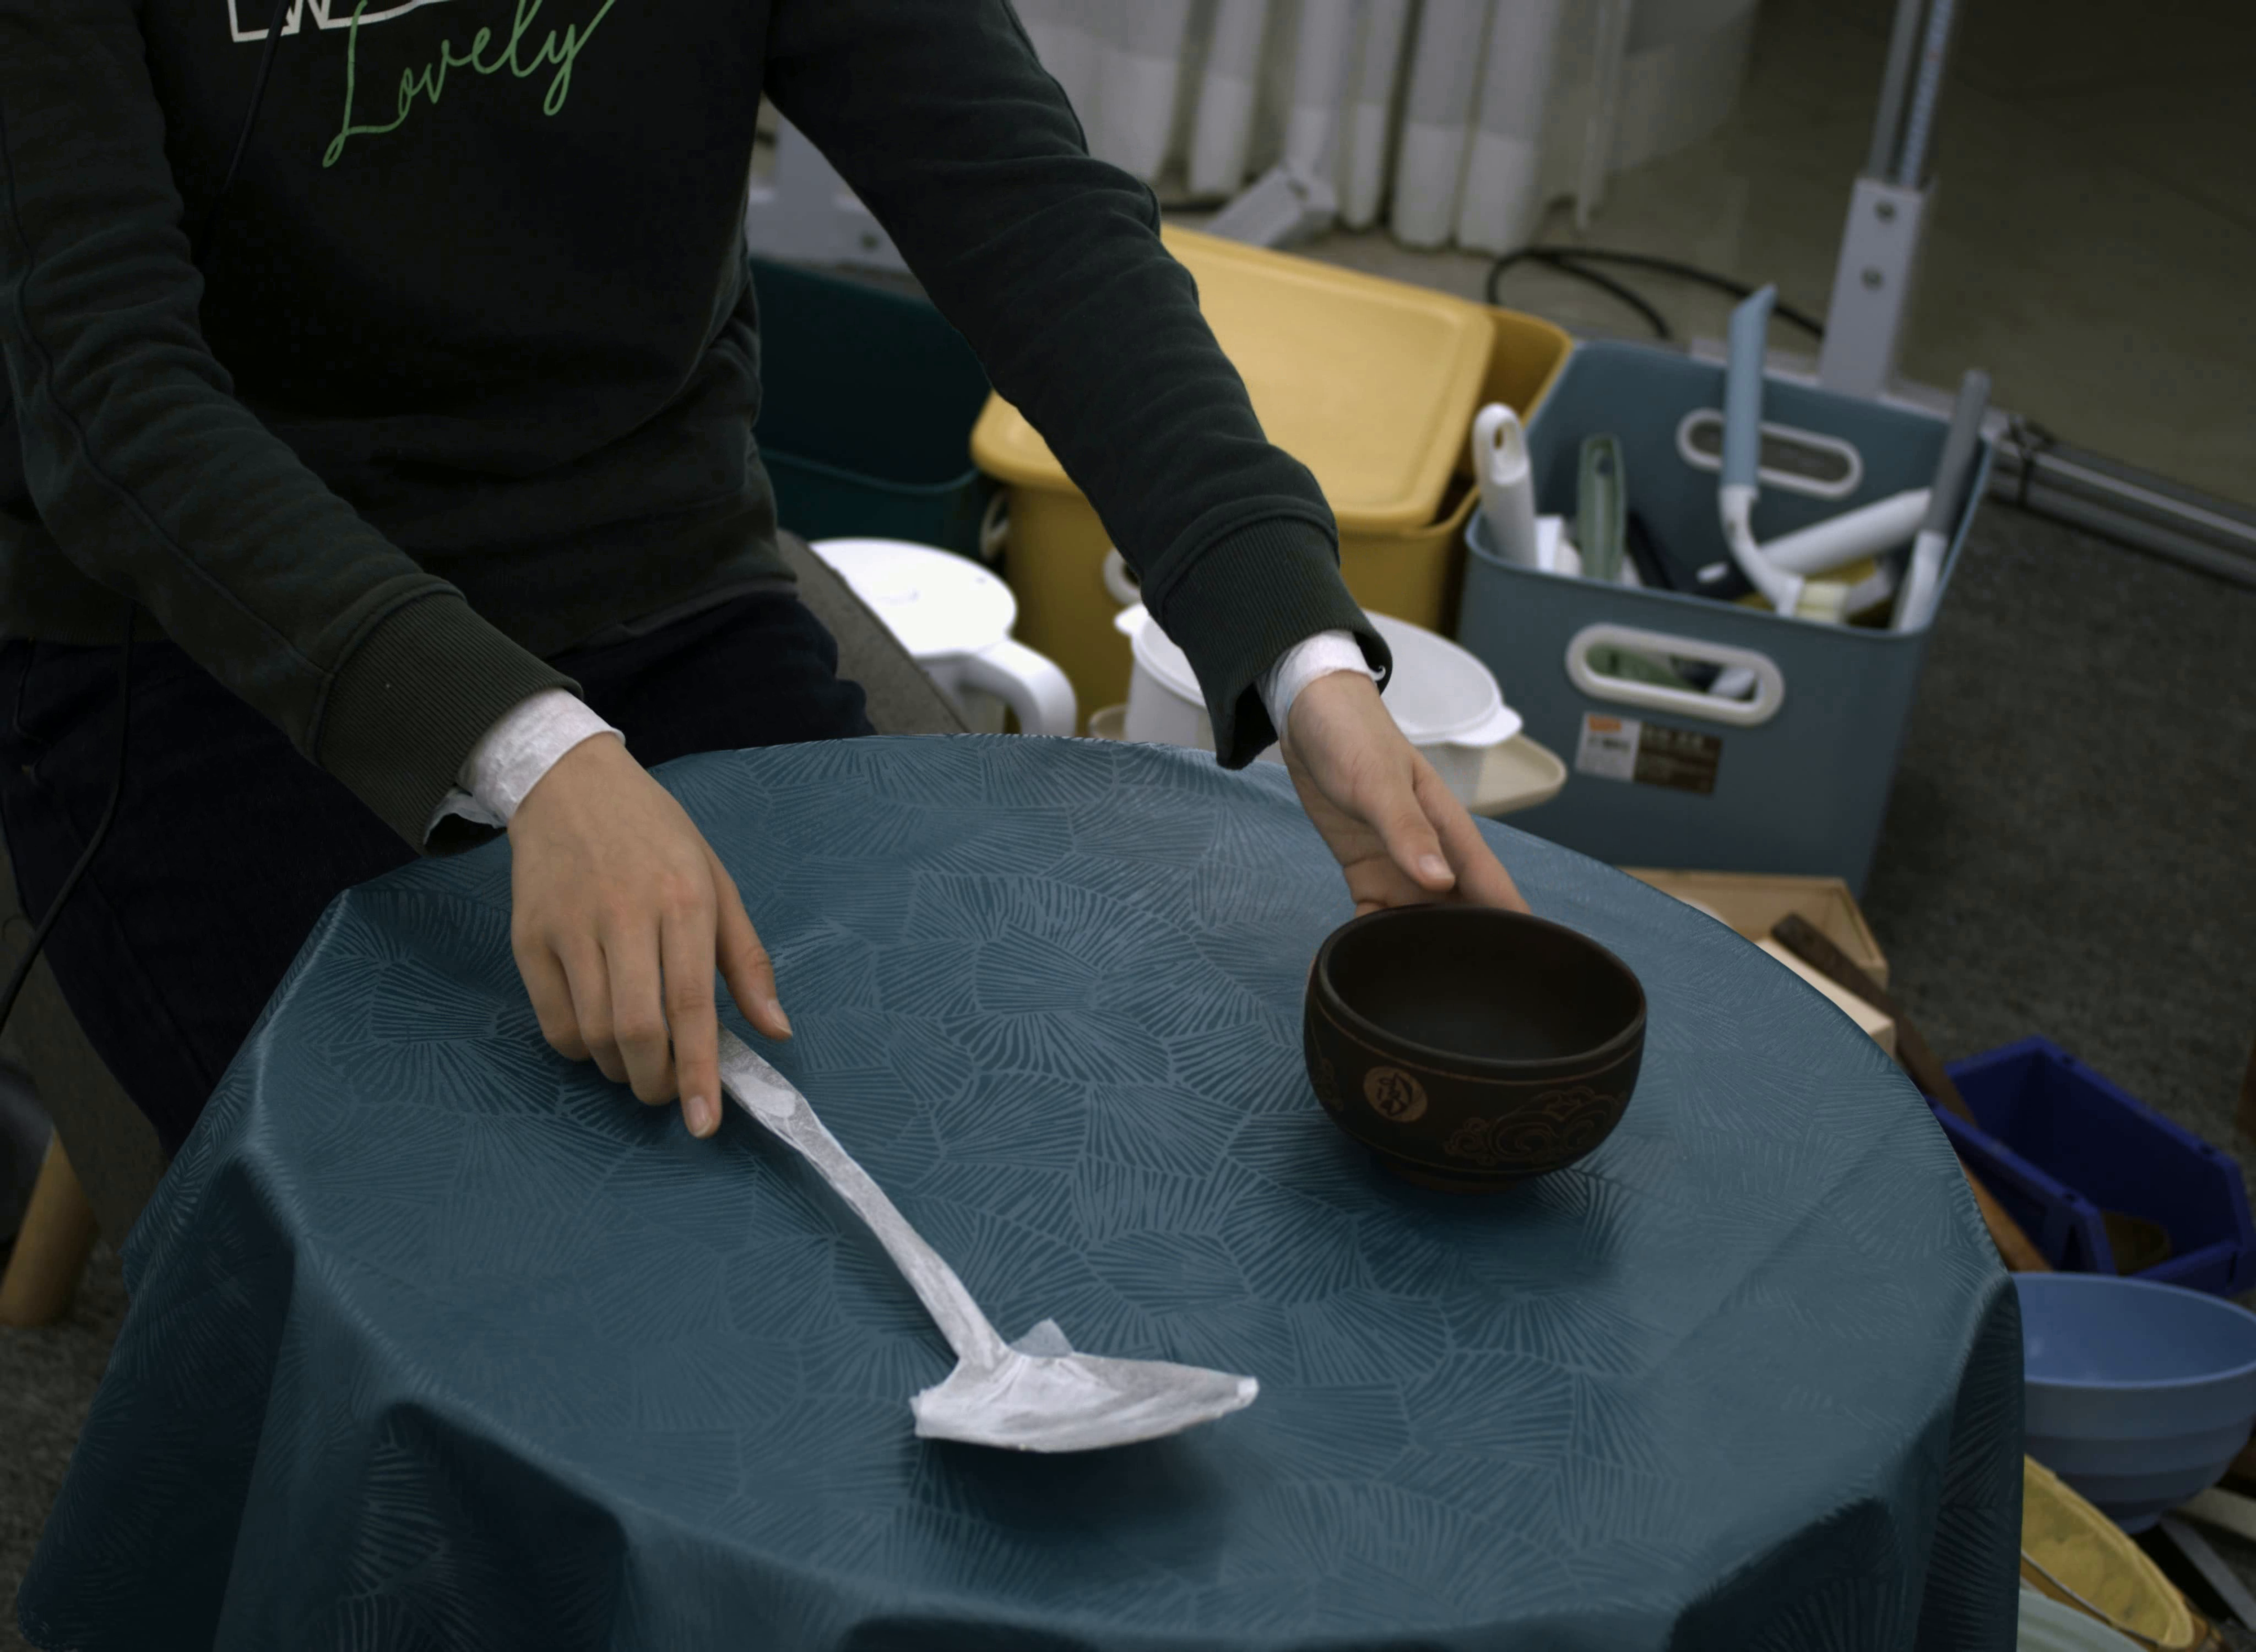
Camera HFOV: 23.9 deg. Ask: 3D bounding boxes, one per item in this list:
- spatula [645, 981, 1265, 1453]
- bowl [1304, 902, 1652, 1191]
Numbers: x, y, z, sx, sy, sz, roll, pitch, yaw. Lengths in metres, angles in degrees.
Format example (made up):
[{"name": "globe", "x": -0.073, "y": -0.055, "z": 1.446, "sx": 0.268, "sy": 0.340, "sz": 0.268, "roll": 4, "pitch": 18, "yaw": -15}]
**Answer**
[{"name": "spatula", "x": -0.081, "y": 0.120, "z": 1.747, "sx": 0.098, "sy": 0.044, "sz": 0.368, "roll": -11, "pitch": 32, "yaw": -28}, {"name": "bowl", "x": 0.117, "y": 0.082, "z": 1.830, "sx": 0.117, "sy": 0.069, "sz": 0.119, "roll": 6, "pitch": 25, "yaw": -3}]
